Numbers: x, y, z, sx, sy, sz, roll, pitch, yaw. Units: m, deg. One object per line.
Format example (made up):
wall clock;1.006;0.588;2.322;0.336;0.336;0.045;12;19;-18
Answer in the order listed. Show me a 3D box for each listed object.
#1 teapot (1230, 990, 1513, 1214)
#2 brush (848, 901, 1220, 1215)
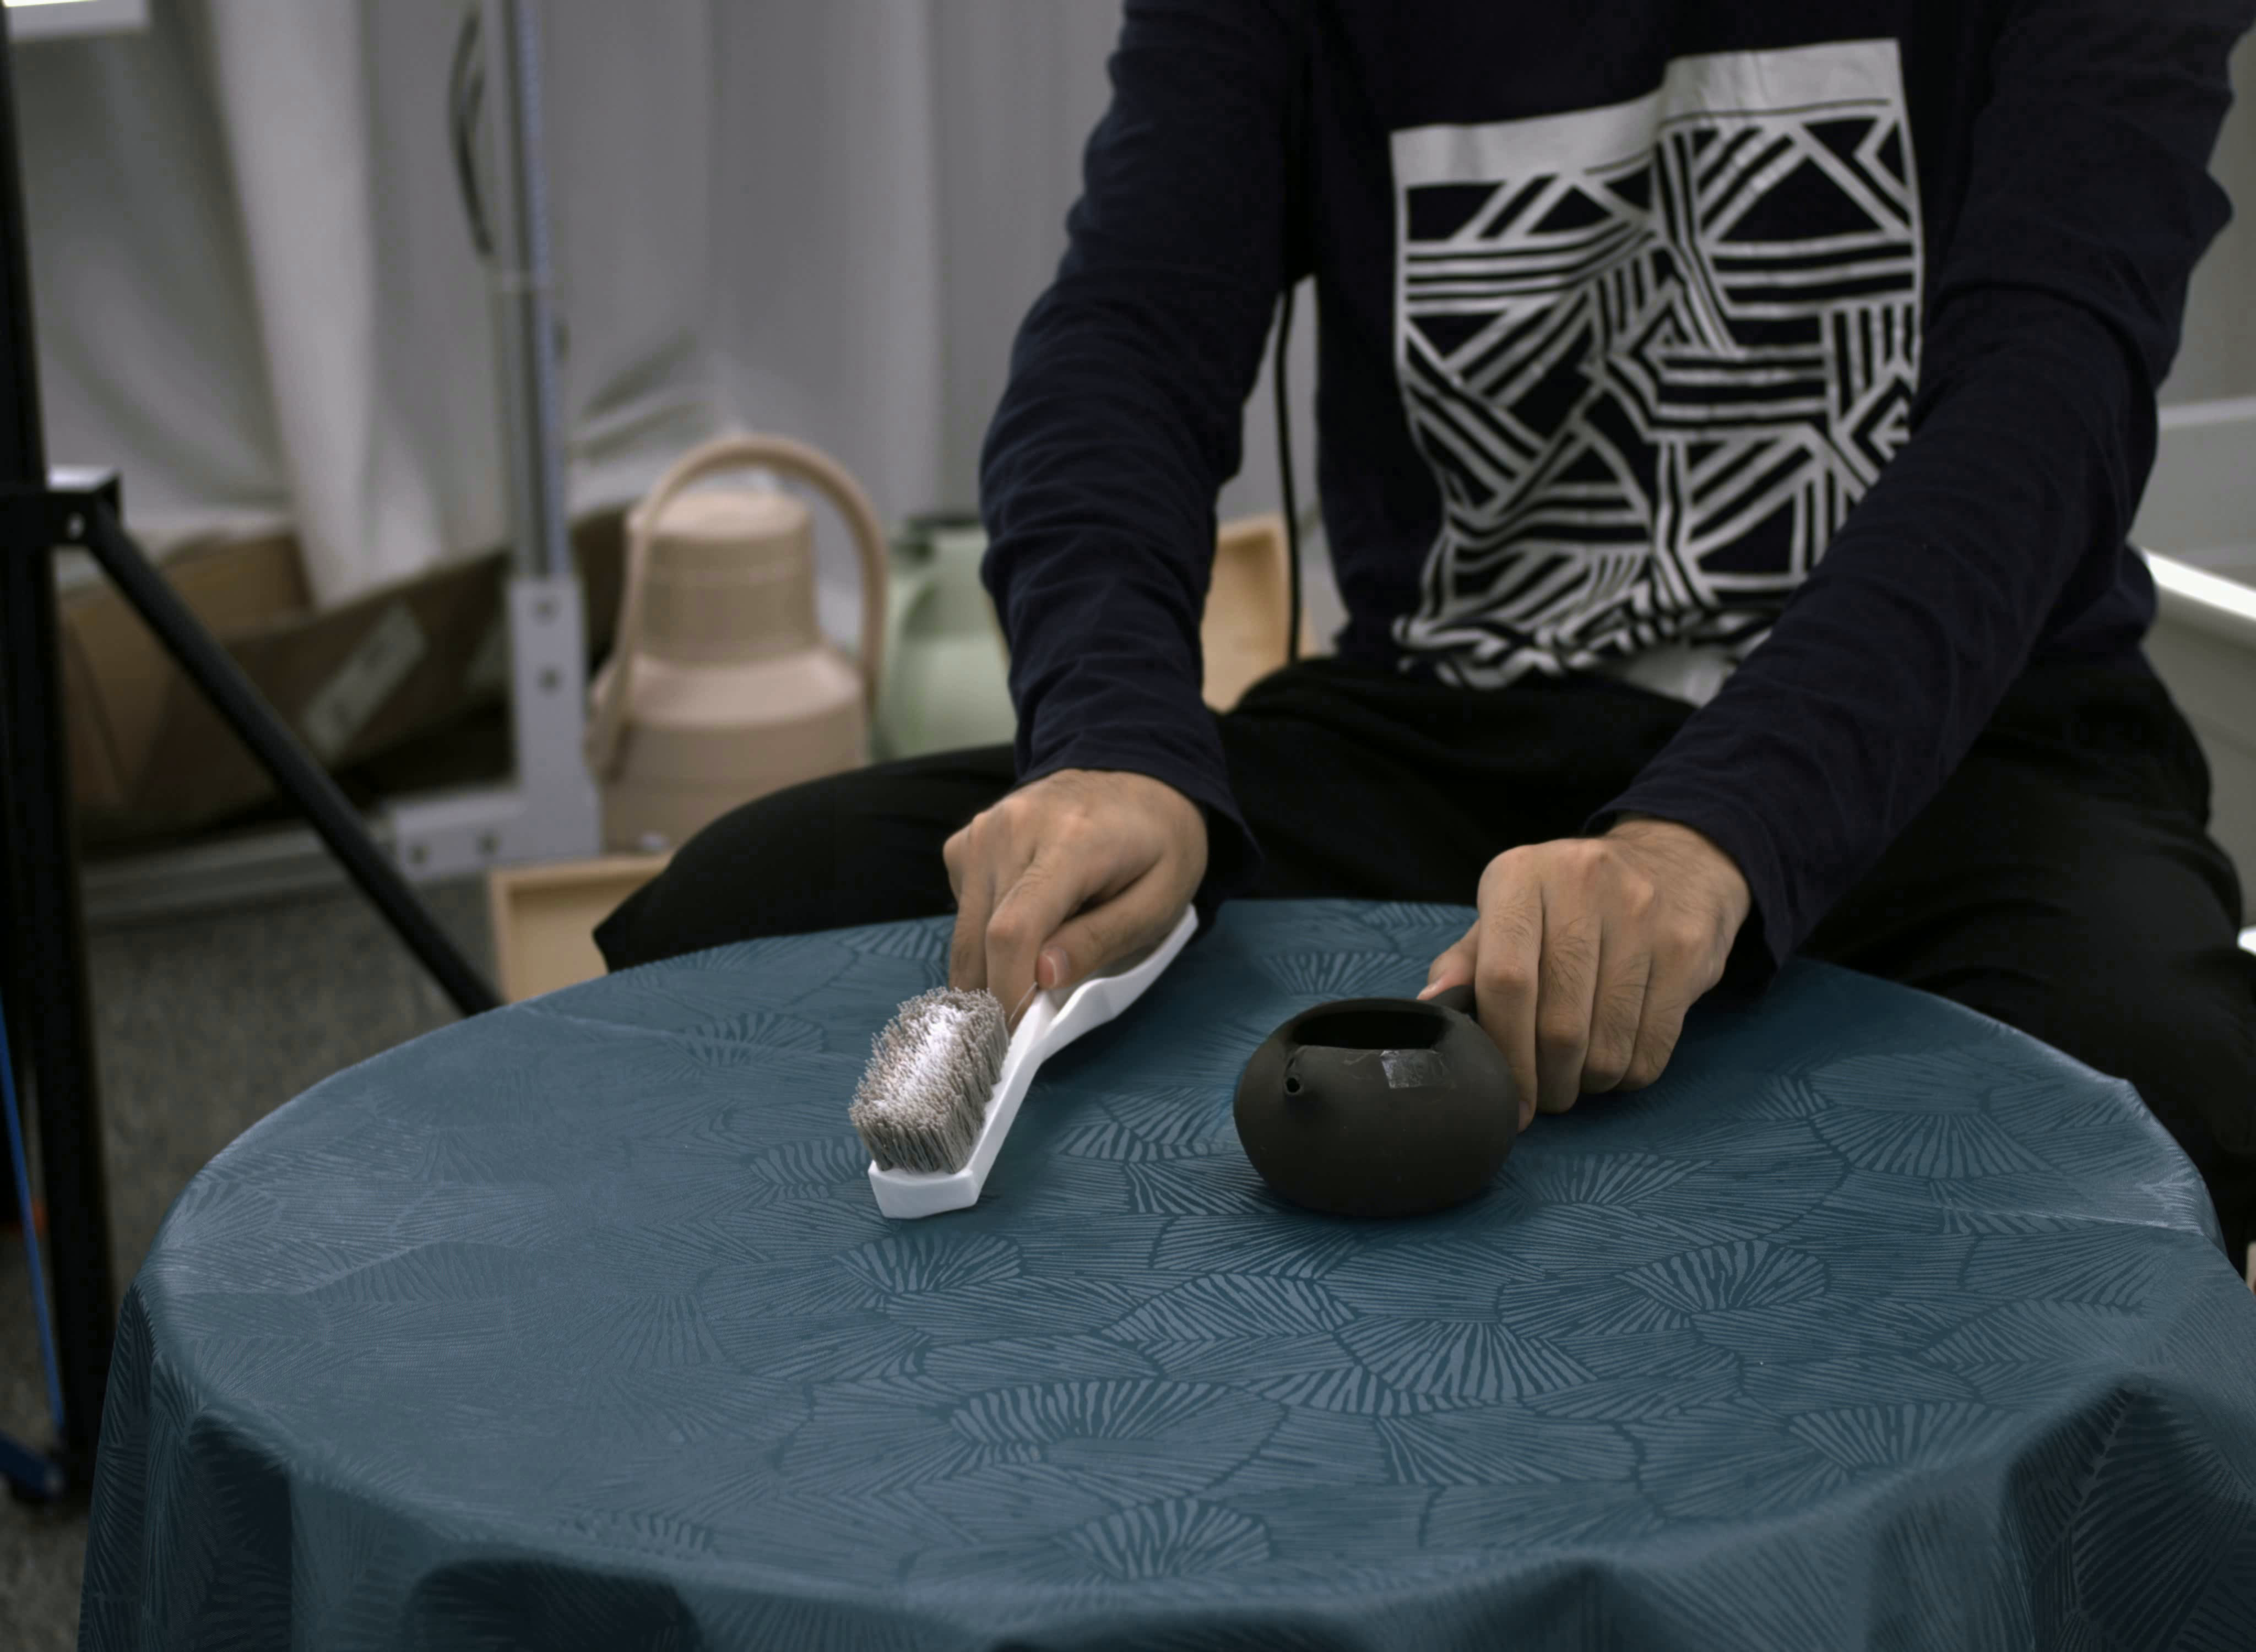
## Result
teapot;0.078;0.078;1.560;0.084;0.053;0.112;8;19;36
brush;-0.024;0.052;1.640;0.035;0.050;0.241;0;21;24
